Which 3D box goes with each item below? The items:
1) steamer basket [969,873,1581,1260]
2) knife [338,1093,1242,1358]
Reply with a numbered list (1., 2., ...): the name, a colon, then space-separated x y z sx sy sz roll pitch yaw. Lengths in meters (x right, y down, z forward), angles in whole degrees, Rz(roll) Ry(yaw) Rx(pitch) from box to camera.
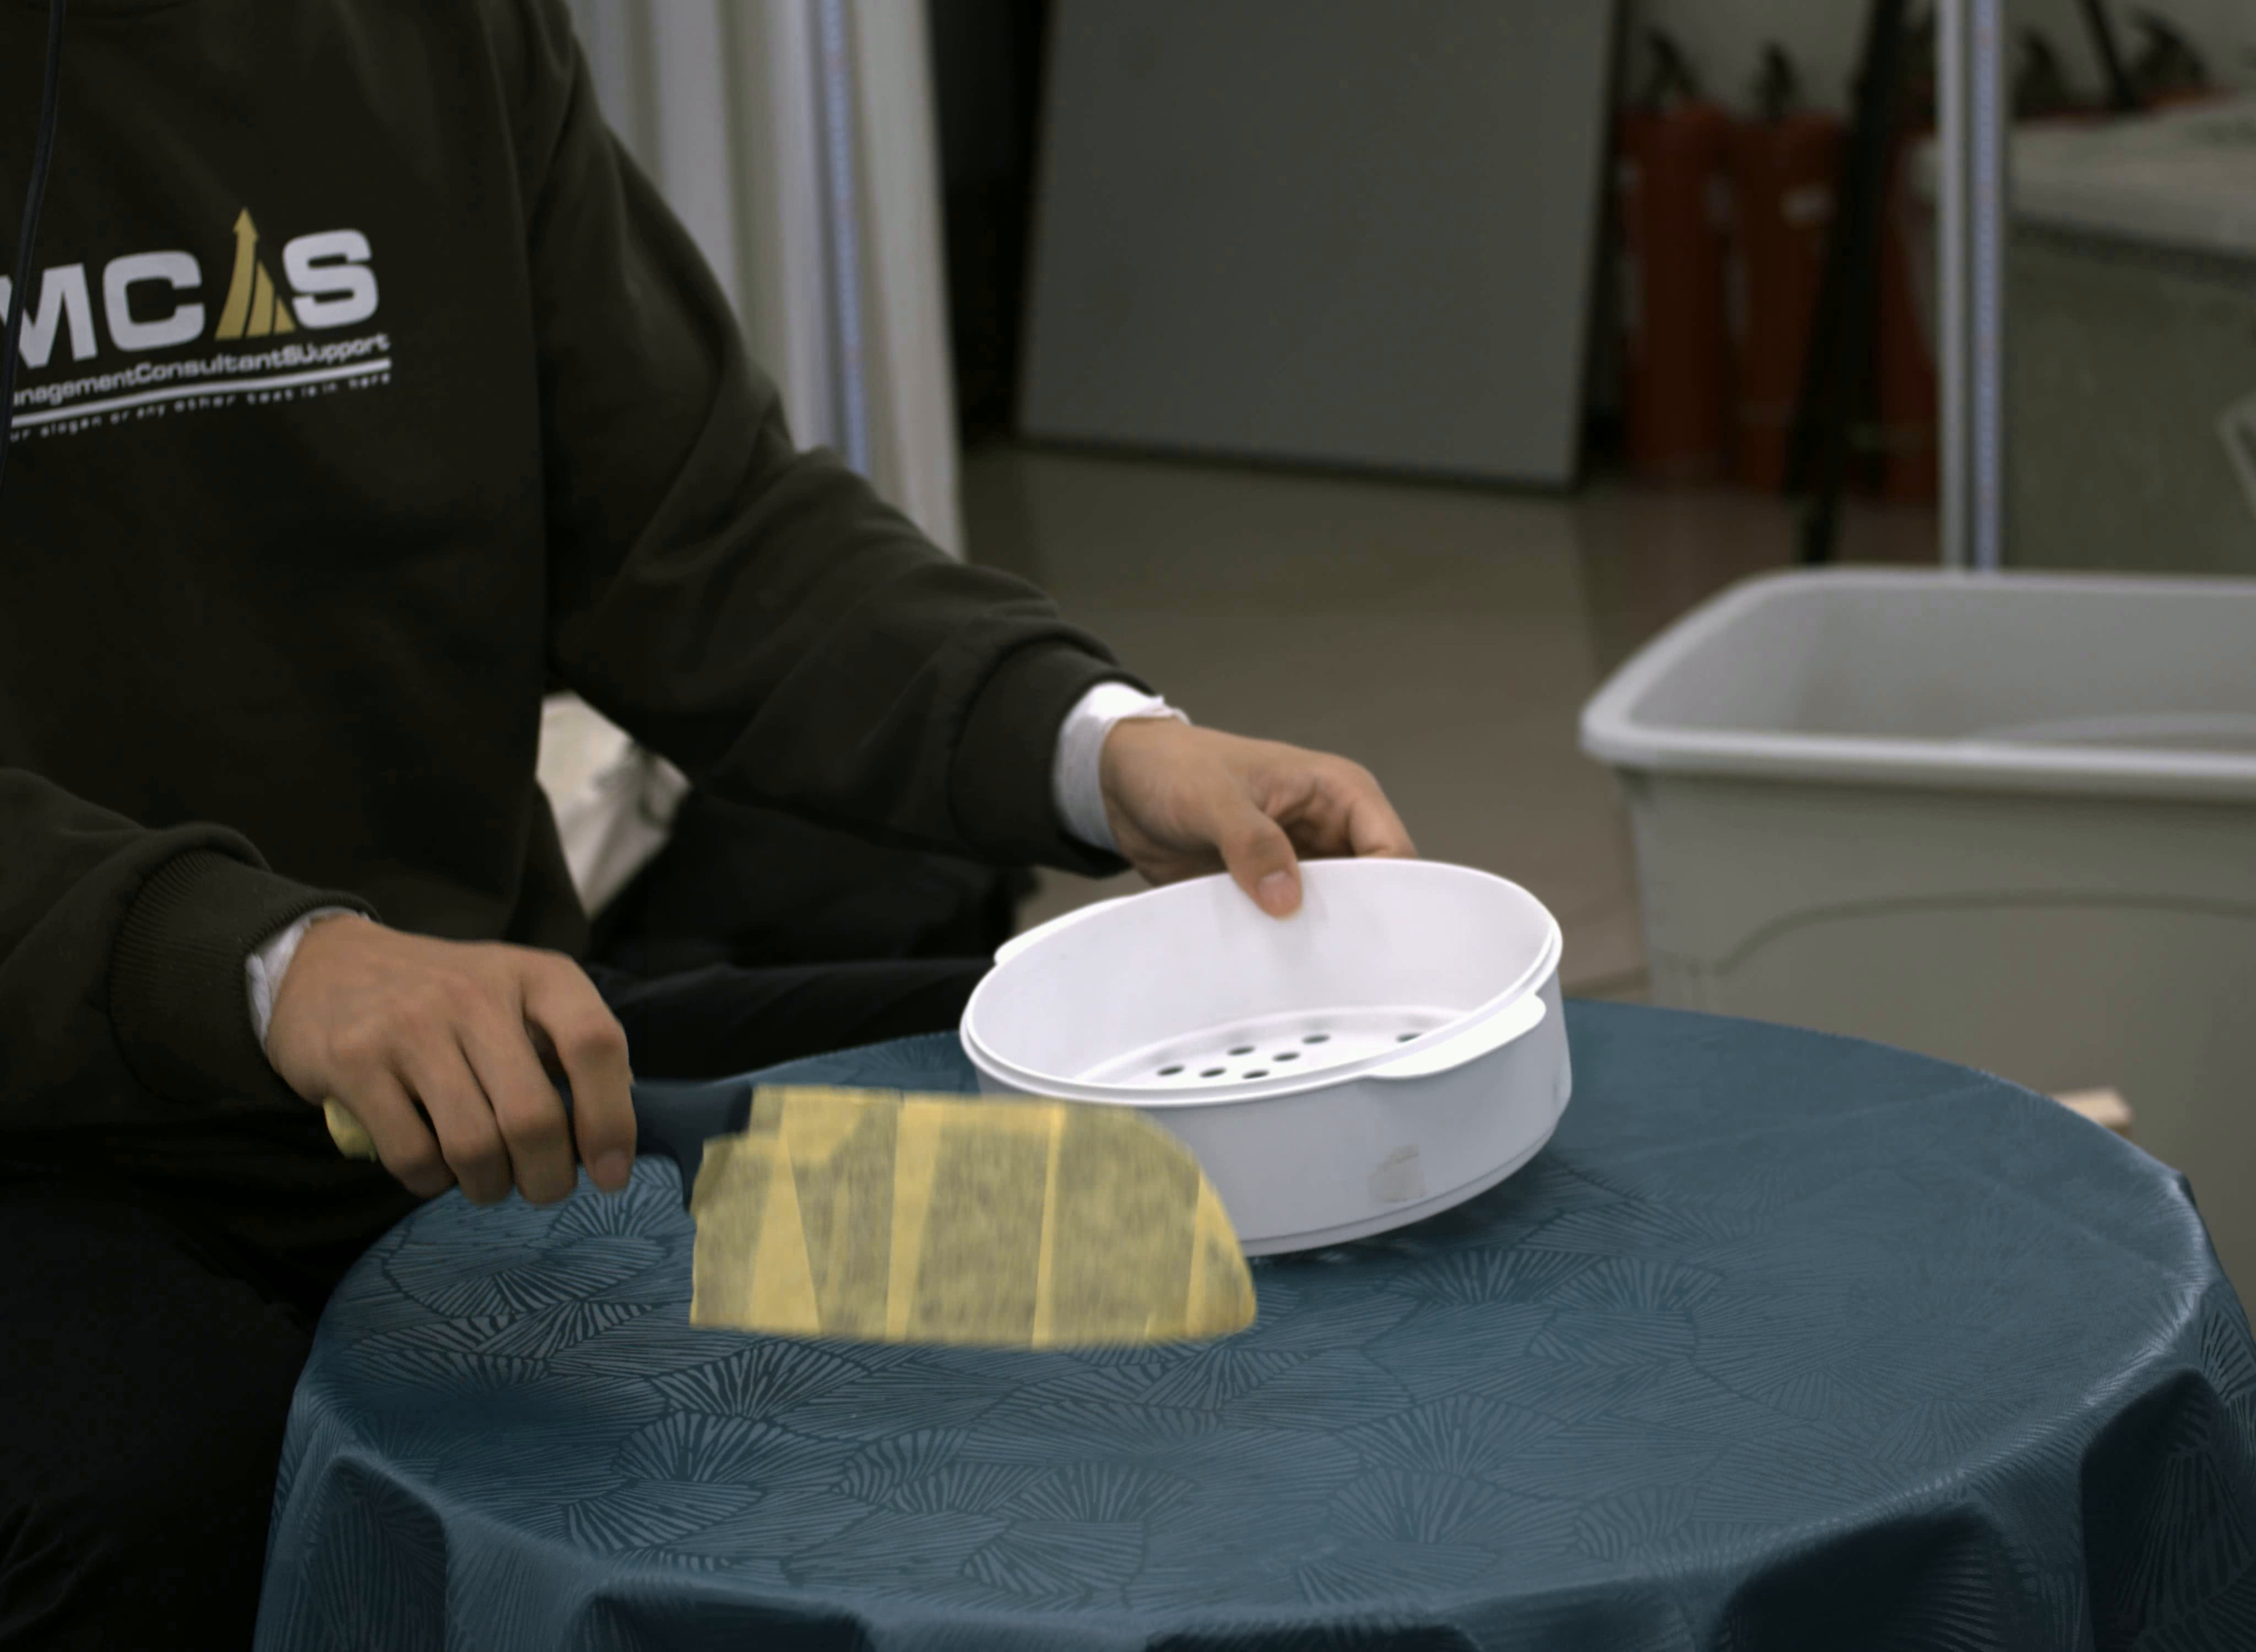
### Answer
1. steamer basket: 0.050 0.079 1.761 0.198 0.070 0.233 -21 20 -33
2. knife: -0.102 0.115 1.585 0.289 0.082 0.027 4 -15 19
